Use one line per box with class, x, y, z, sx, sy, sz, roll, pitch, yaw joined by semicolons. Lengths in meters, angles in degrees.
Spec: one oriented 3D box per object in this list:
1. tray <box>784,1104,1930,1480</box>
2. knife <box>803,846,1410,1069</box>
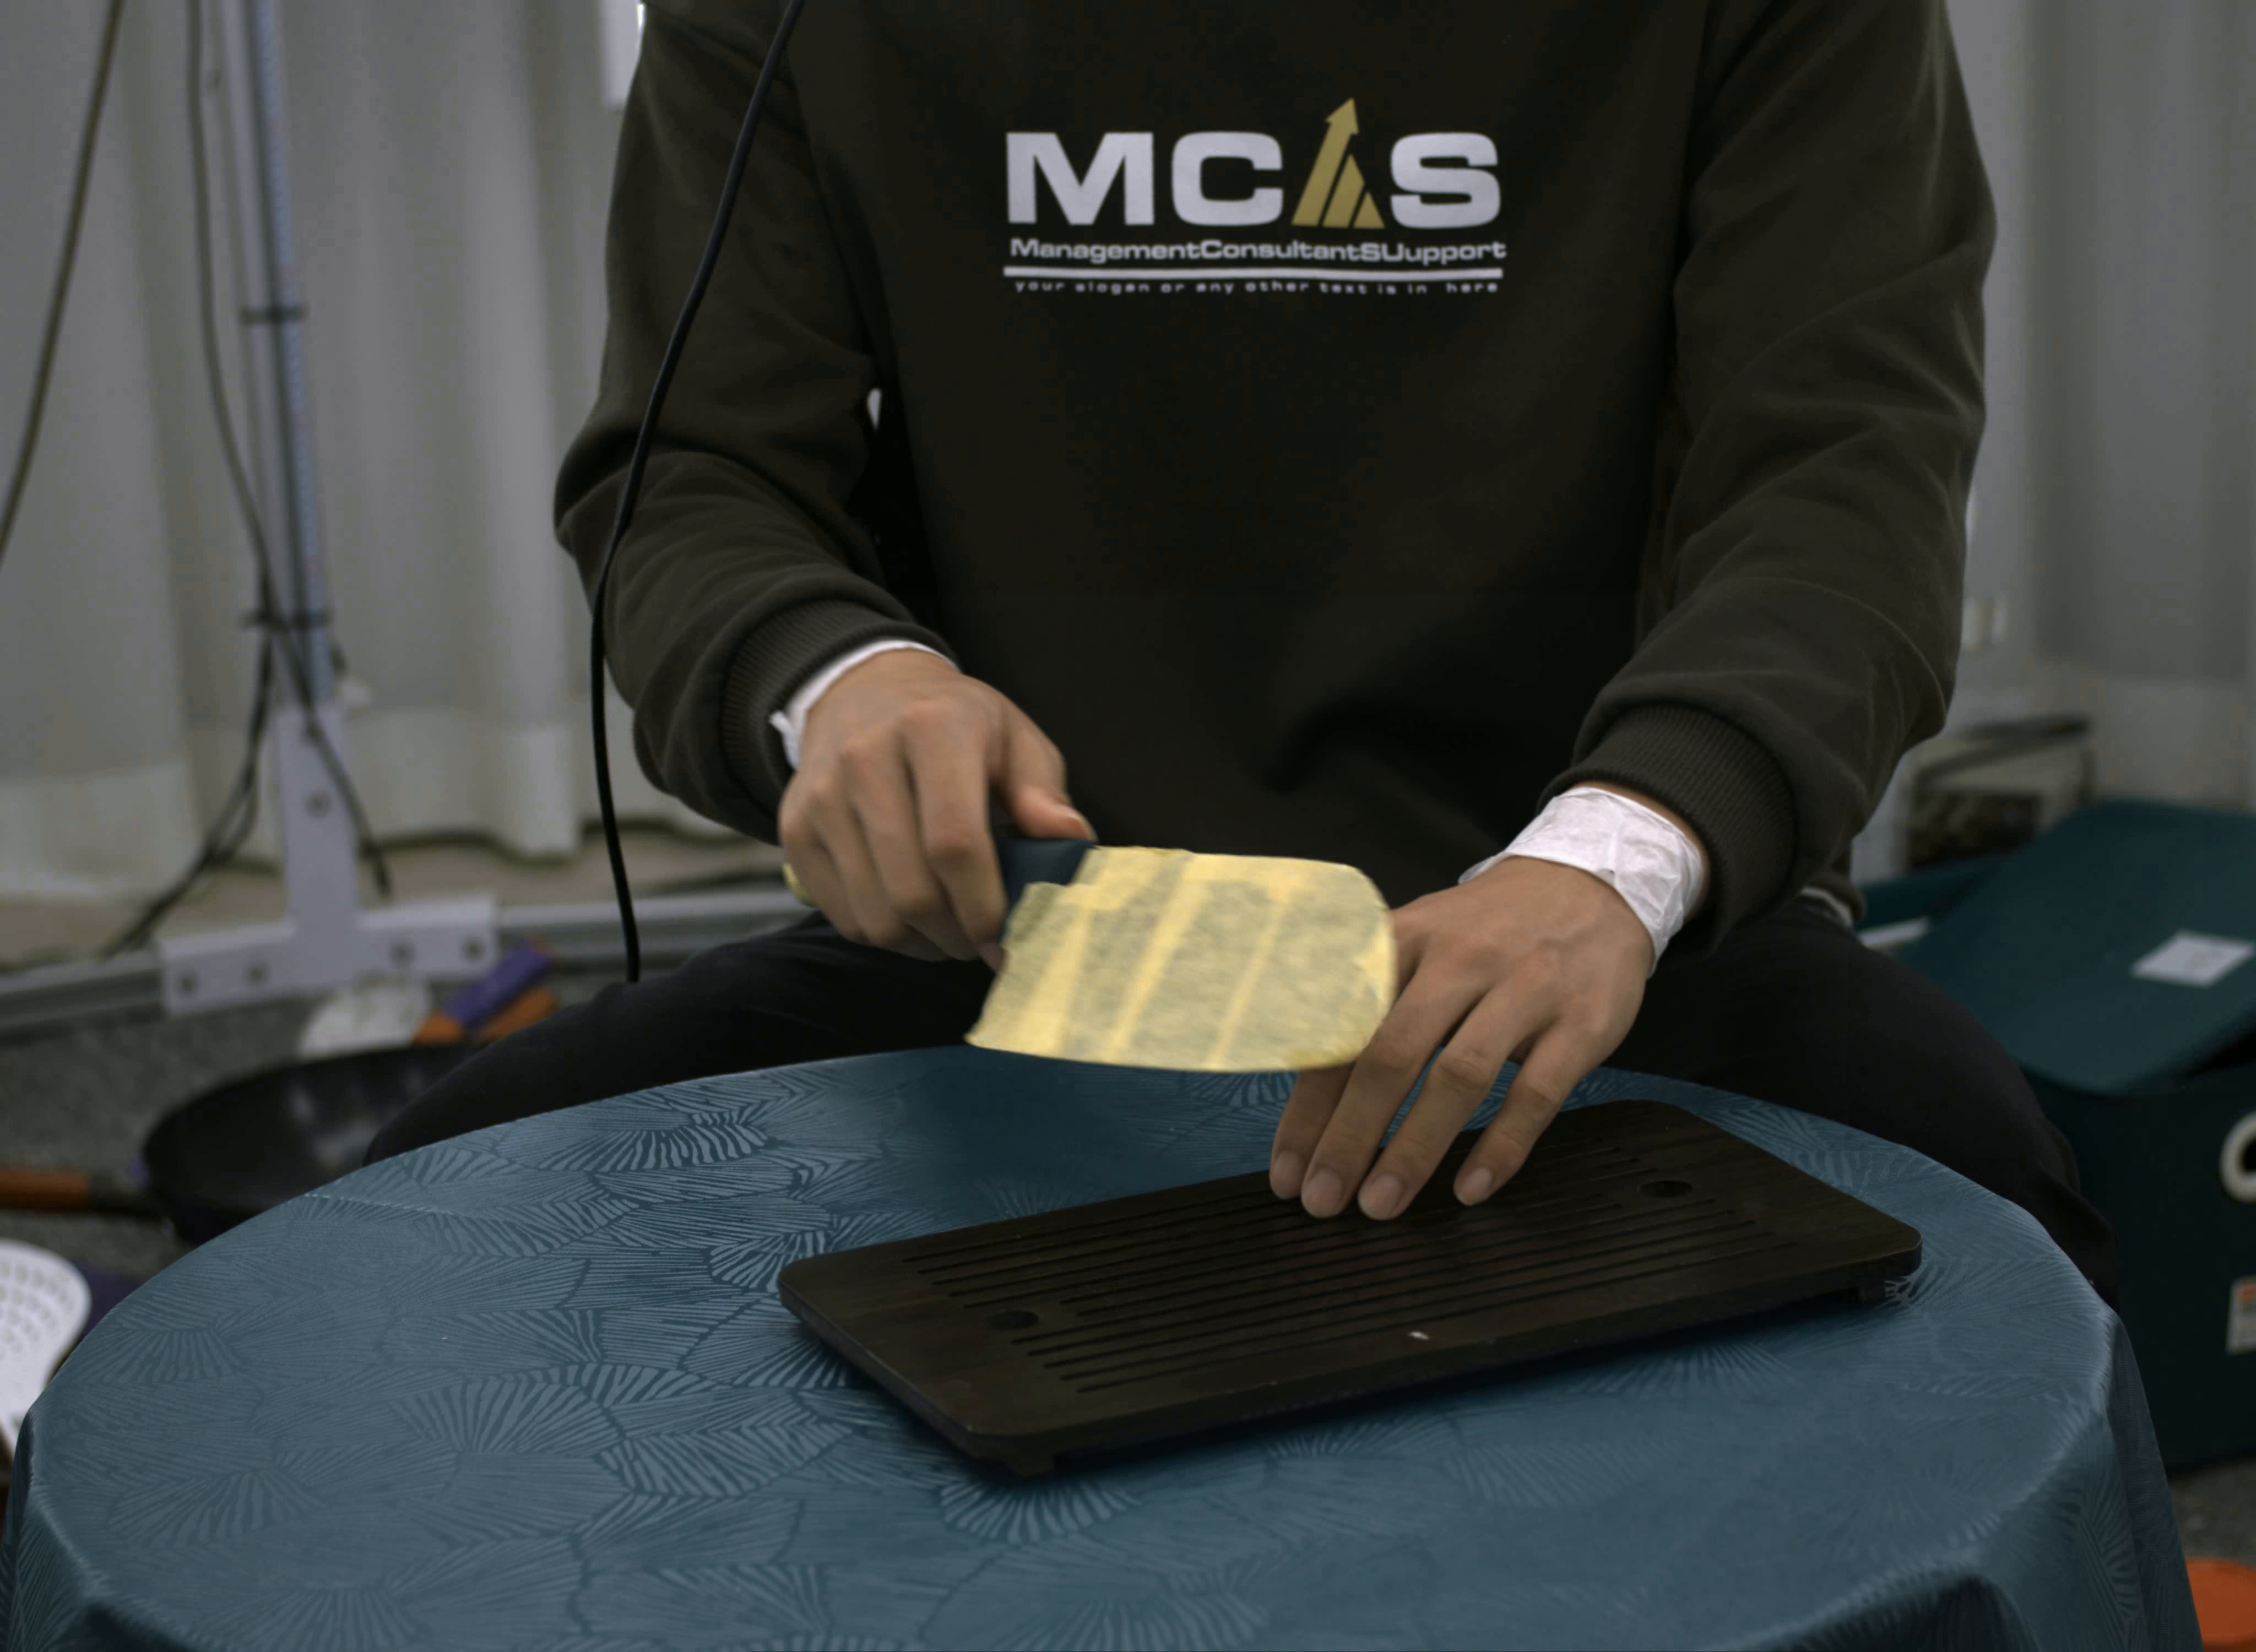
tray;0.066;0.134;1.598;0.304;0.018;0.171;-9;15;-23
knife;-0.013;0.038;1.665;0.291;0.081;0.027;6;-29;51
